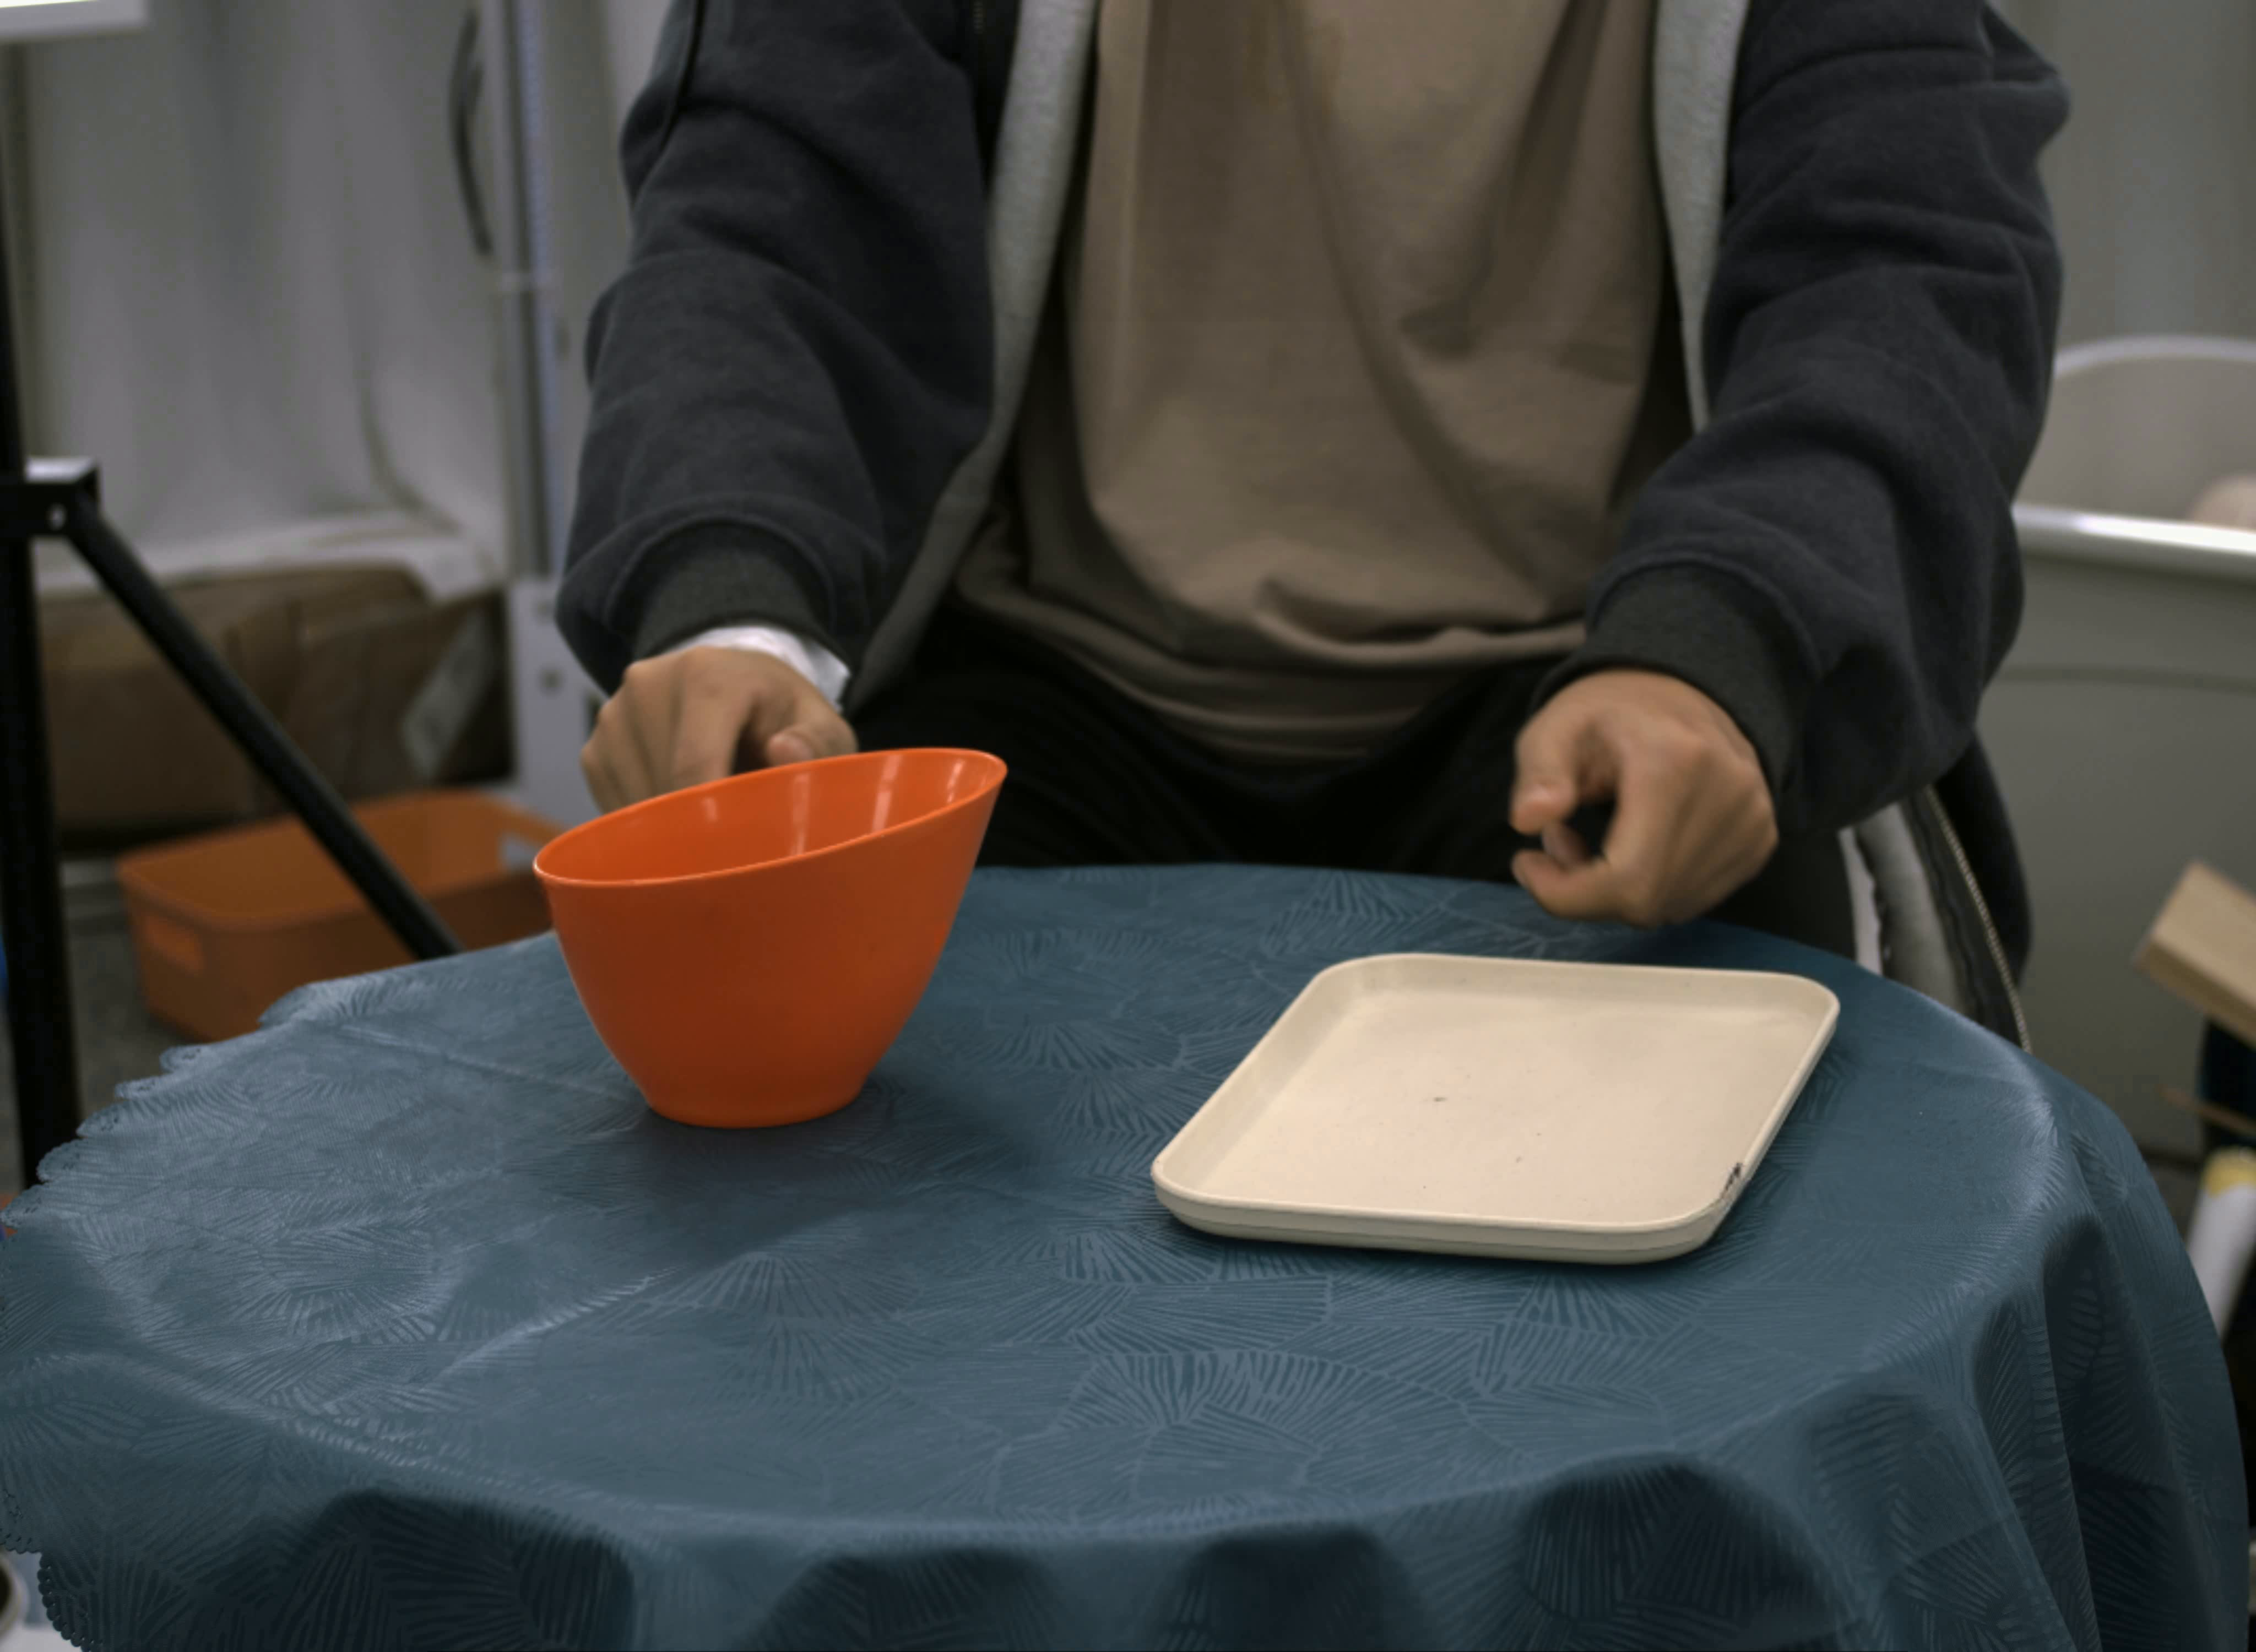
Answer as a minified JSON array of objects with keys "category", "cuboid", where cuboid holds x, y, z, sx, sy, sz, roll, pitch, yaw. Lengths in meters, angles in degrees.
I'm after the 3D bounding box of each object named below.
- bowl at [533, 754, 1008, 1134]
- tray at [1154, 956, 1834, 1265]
[{"category":"bowl","cuboid":[-0.109,0.037,1.646,0.147,0.104,0.149,-3,16,-1]},{"category":"tray","cuboid":[0.114,0.084,1.593,0.173,0.017,0.237,2,17,18]}]
